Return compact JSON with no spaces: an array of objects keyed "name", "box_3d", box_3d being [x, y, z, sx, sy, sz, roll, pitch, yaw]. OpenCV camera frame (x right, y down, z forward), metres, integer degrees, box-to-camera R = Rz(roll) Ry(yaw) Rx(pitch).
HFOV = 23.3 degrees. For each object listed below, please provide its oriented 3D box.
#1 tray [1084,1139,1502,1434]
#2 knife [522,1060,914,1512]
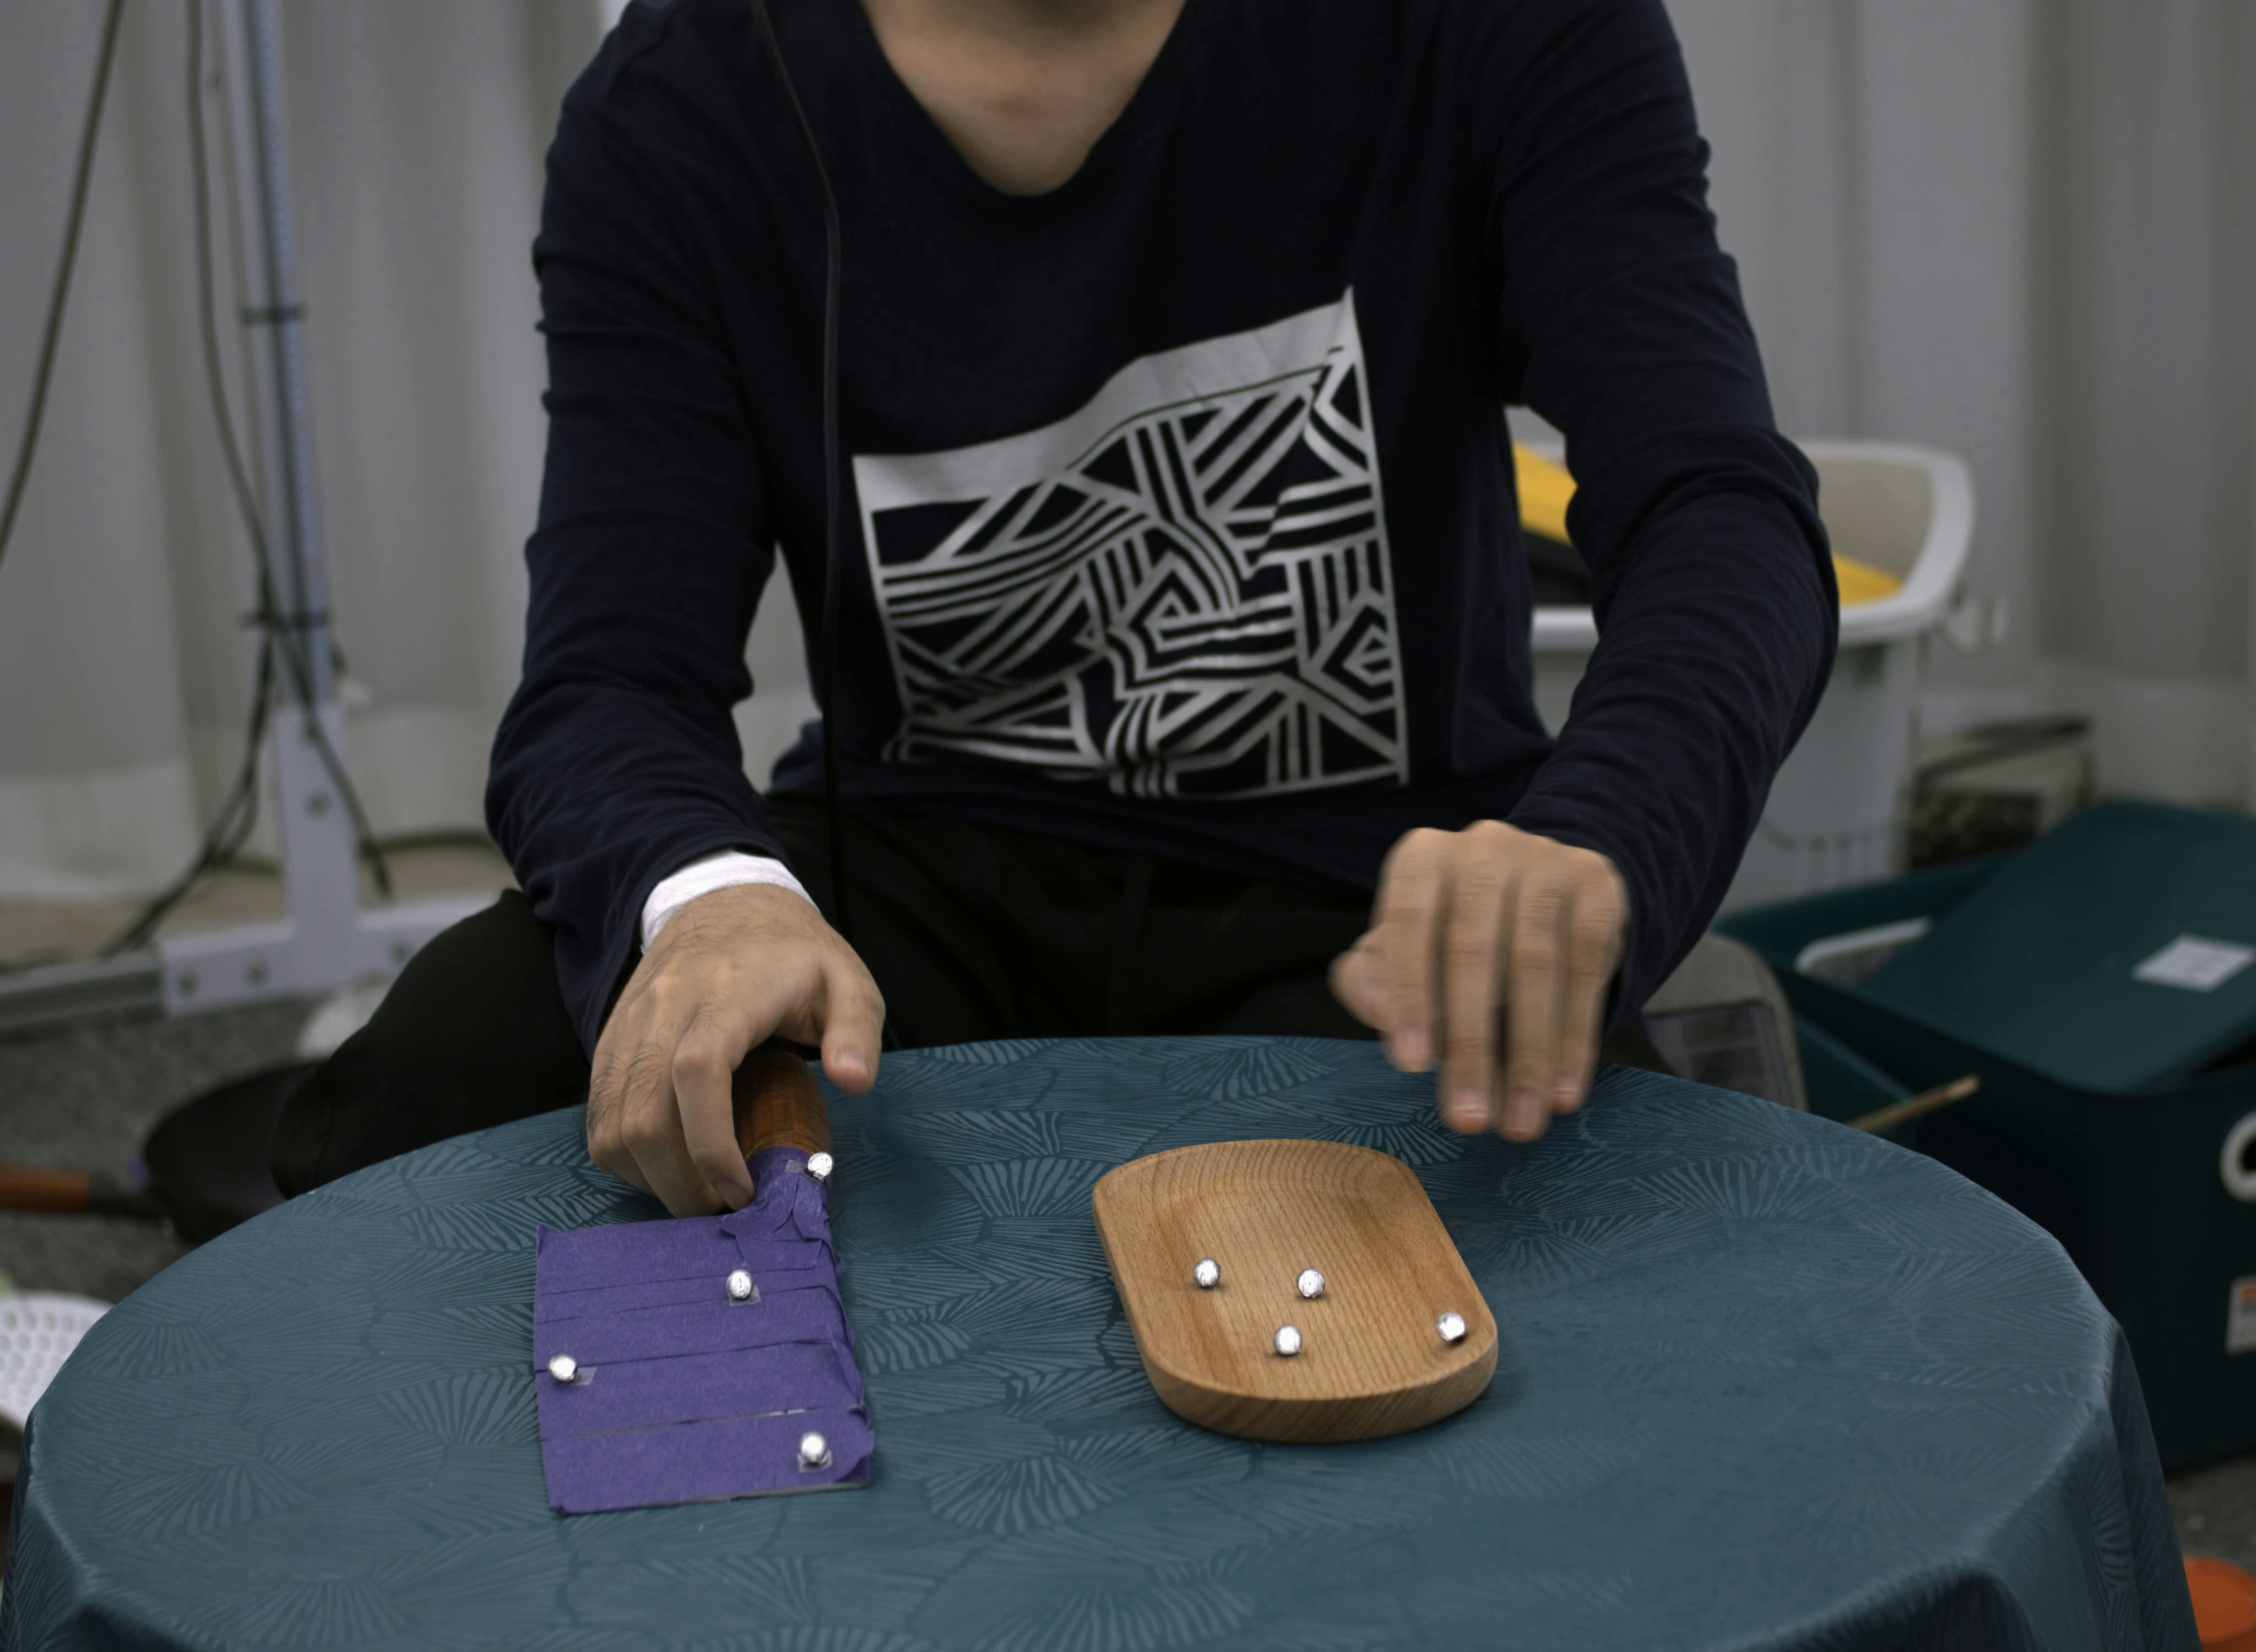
[{"name":"tray","box_3d":[0.046,0.133,1.608,0.101,0.020,0.233,-4,13,-7]},{"name":"knife","box_3d":[-0.129,0.132,1.623,0.103,0.032,0.317,-4,15,-7]}]
